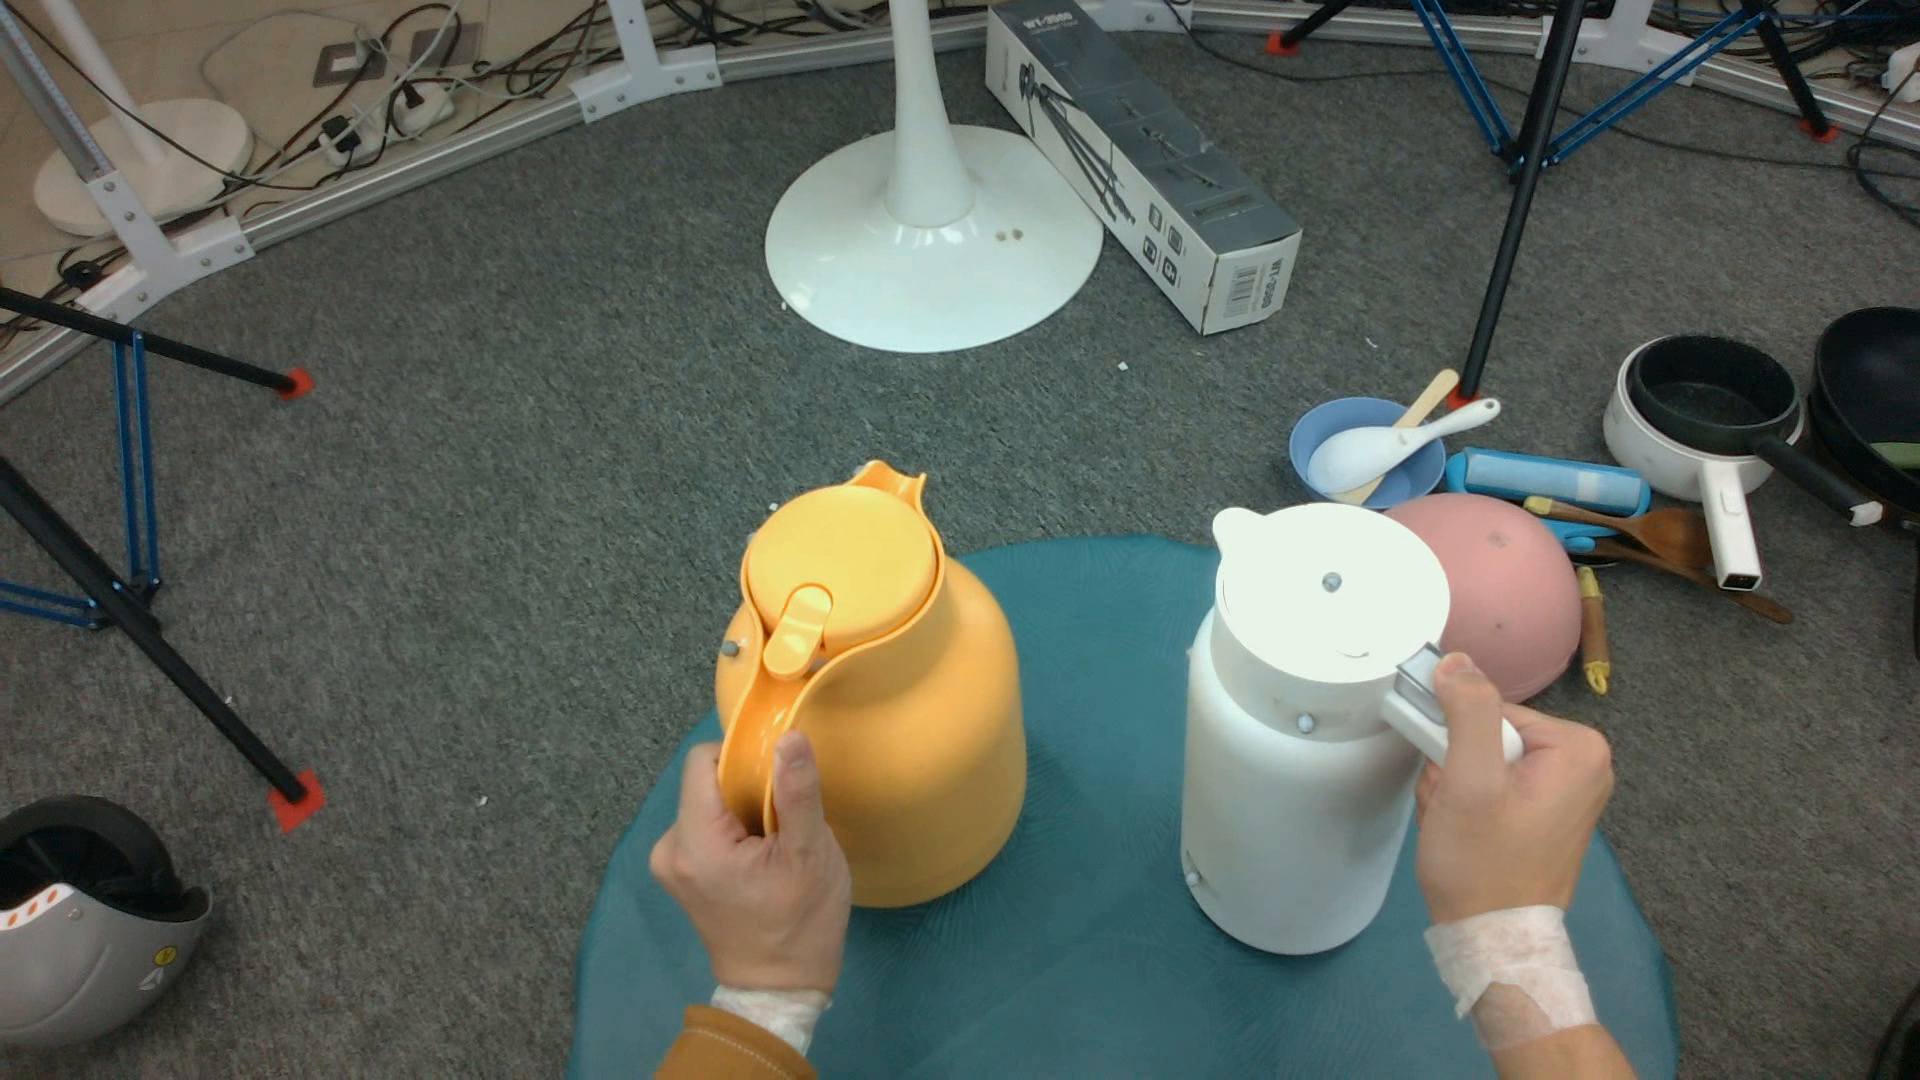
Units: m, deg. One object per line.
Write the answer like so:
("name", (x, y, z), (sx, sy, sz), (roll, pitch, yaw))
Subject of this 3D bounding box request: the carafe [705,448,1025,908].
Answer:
("carafe", (-0.059, 0.091, 0.725), (0.163, 0.259, 0.203), (17, 54, 20))

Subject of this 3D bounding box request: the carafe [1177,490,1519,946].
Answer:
("carafe", (0.183, 0.109, 0.690), (0.124, 0.267, 0.173), (-32, 54, -21))
